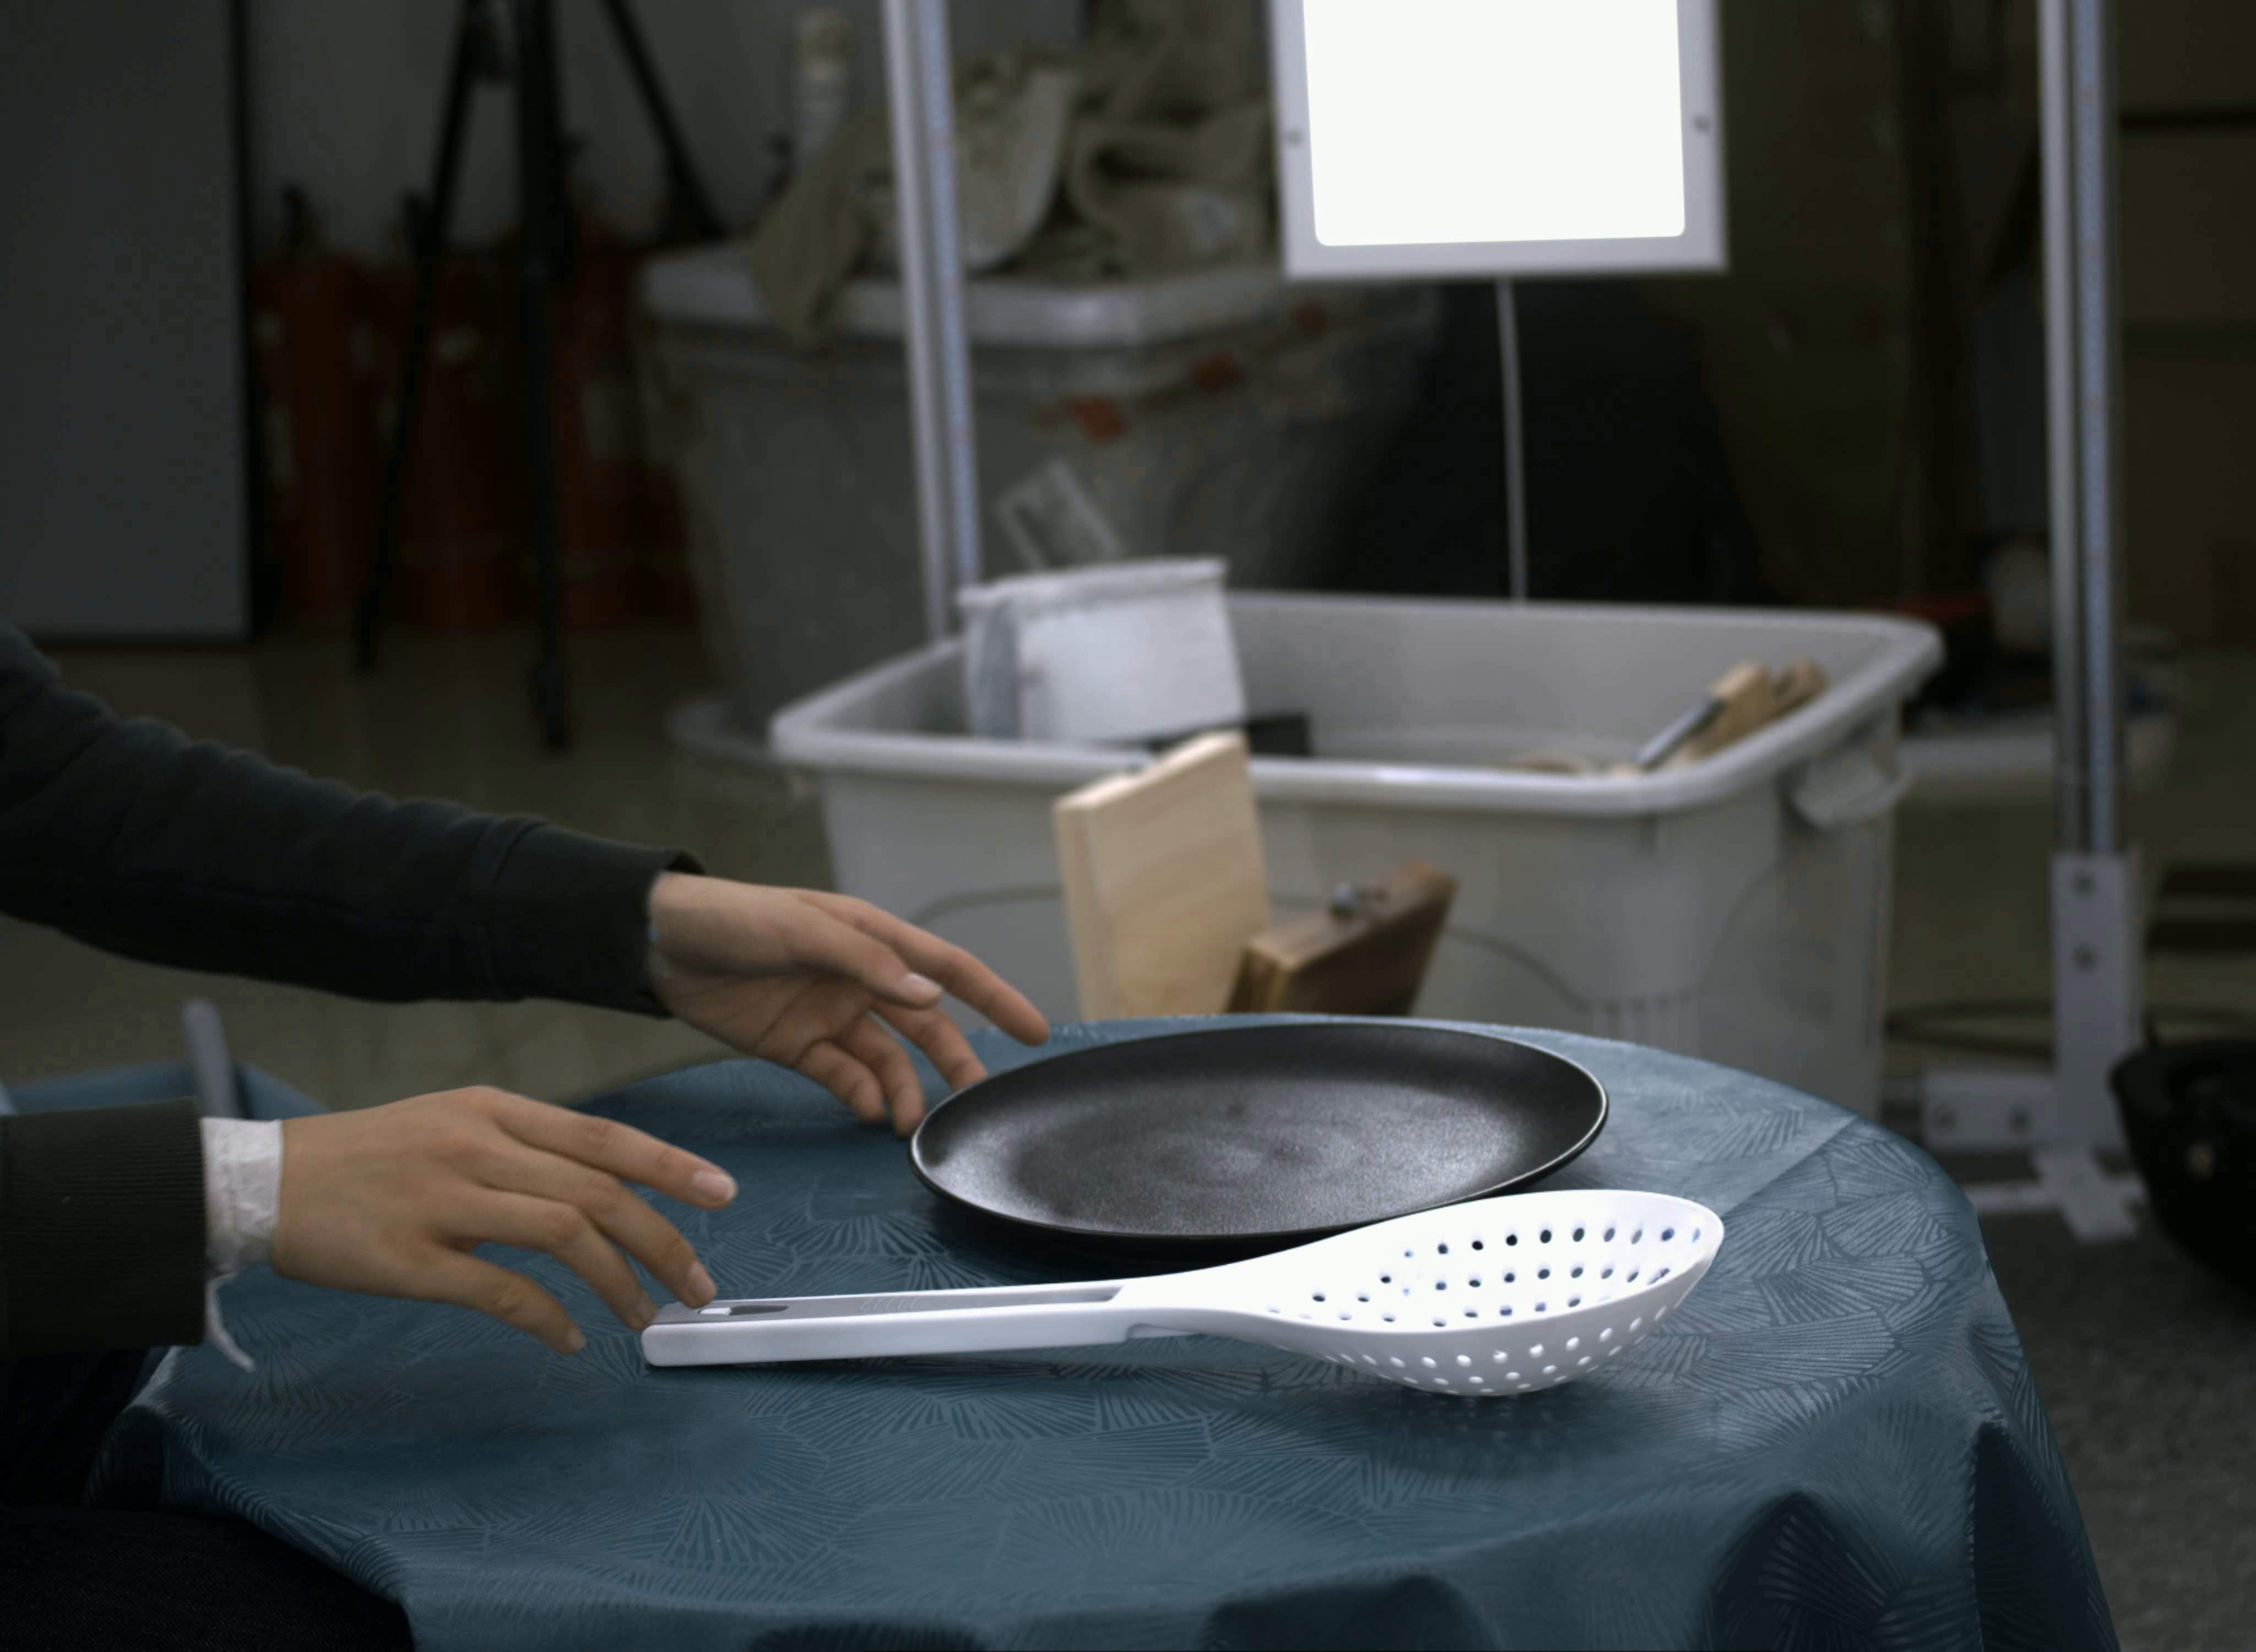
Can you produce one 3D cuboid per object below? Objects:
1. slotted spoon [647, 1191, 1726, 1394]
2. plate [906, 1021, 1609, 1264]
[{"bbox_3d":[0.014,0.148,1.709,0.354,0.046,0.134,-1,12,19],"label":"slotted spoon"},{"bbox_3d":[0.045,0.111,1.895,0.244,0.023,0.244,-5,14,0],"label":"plate"}]
